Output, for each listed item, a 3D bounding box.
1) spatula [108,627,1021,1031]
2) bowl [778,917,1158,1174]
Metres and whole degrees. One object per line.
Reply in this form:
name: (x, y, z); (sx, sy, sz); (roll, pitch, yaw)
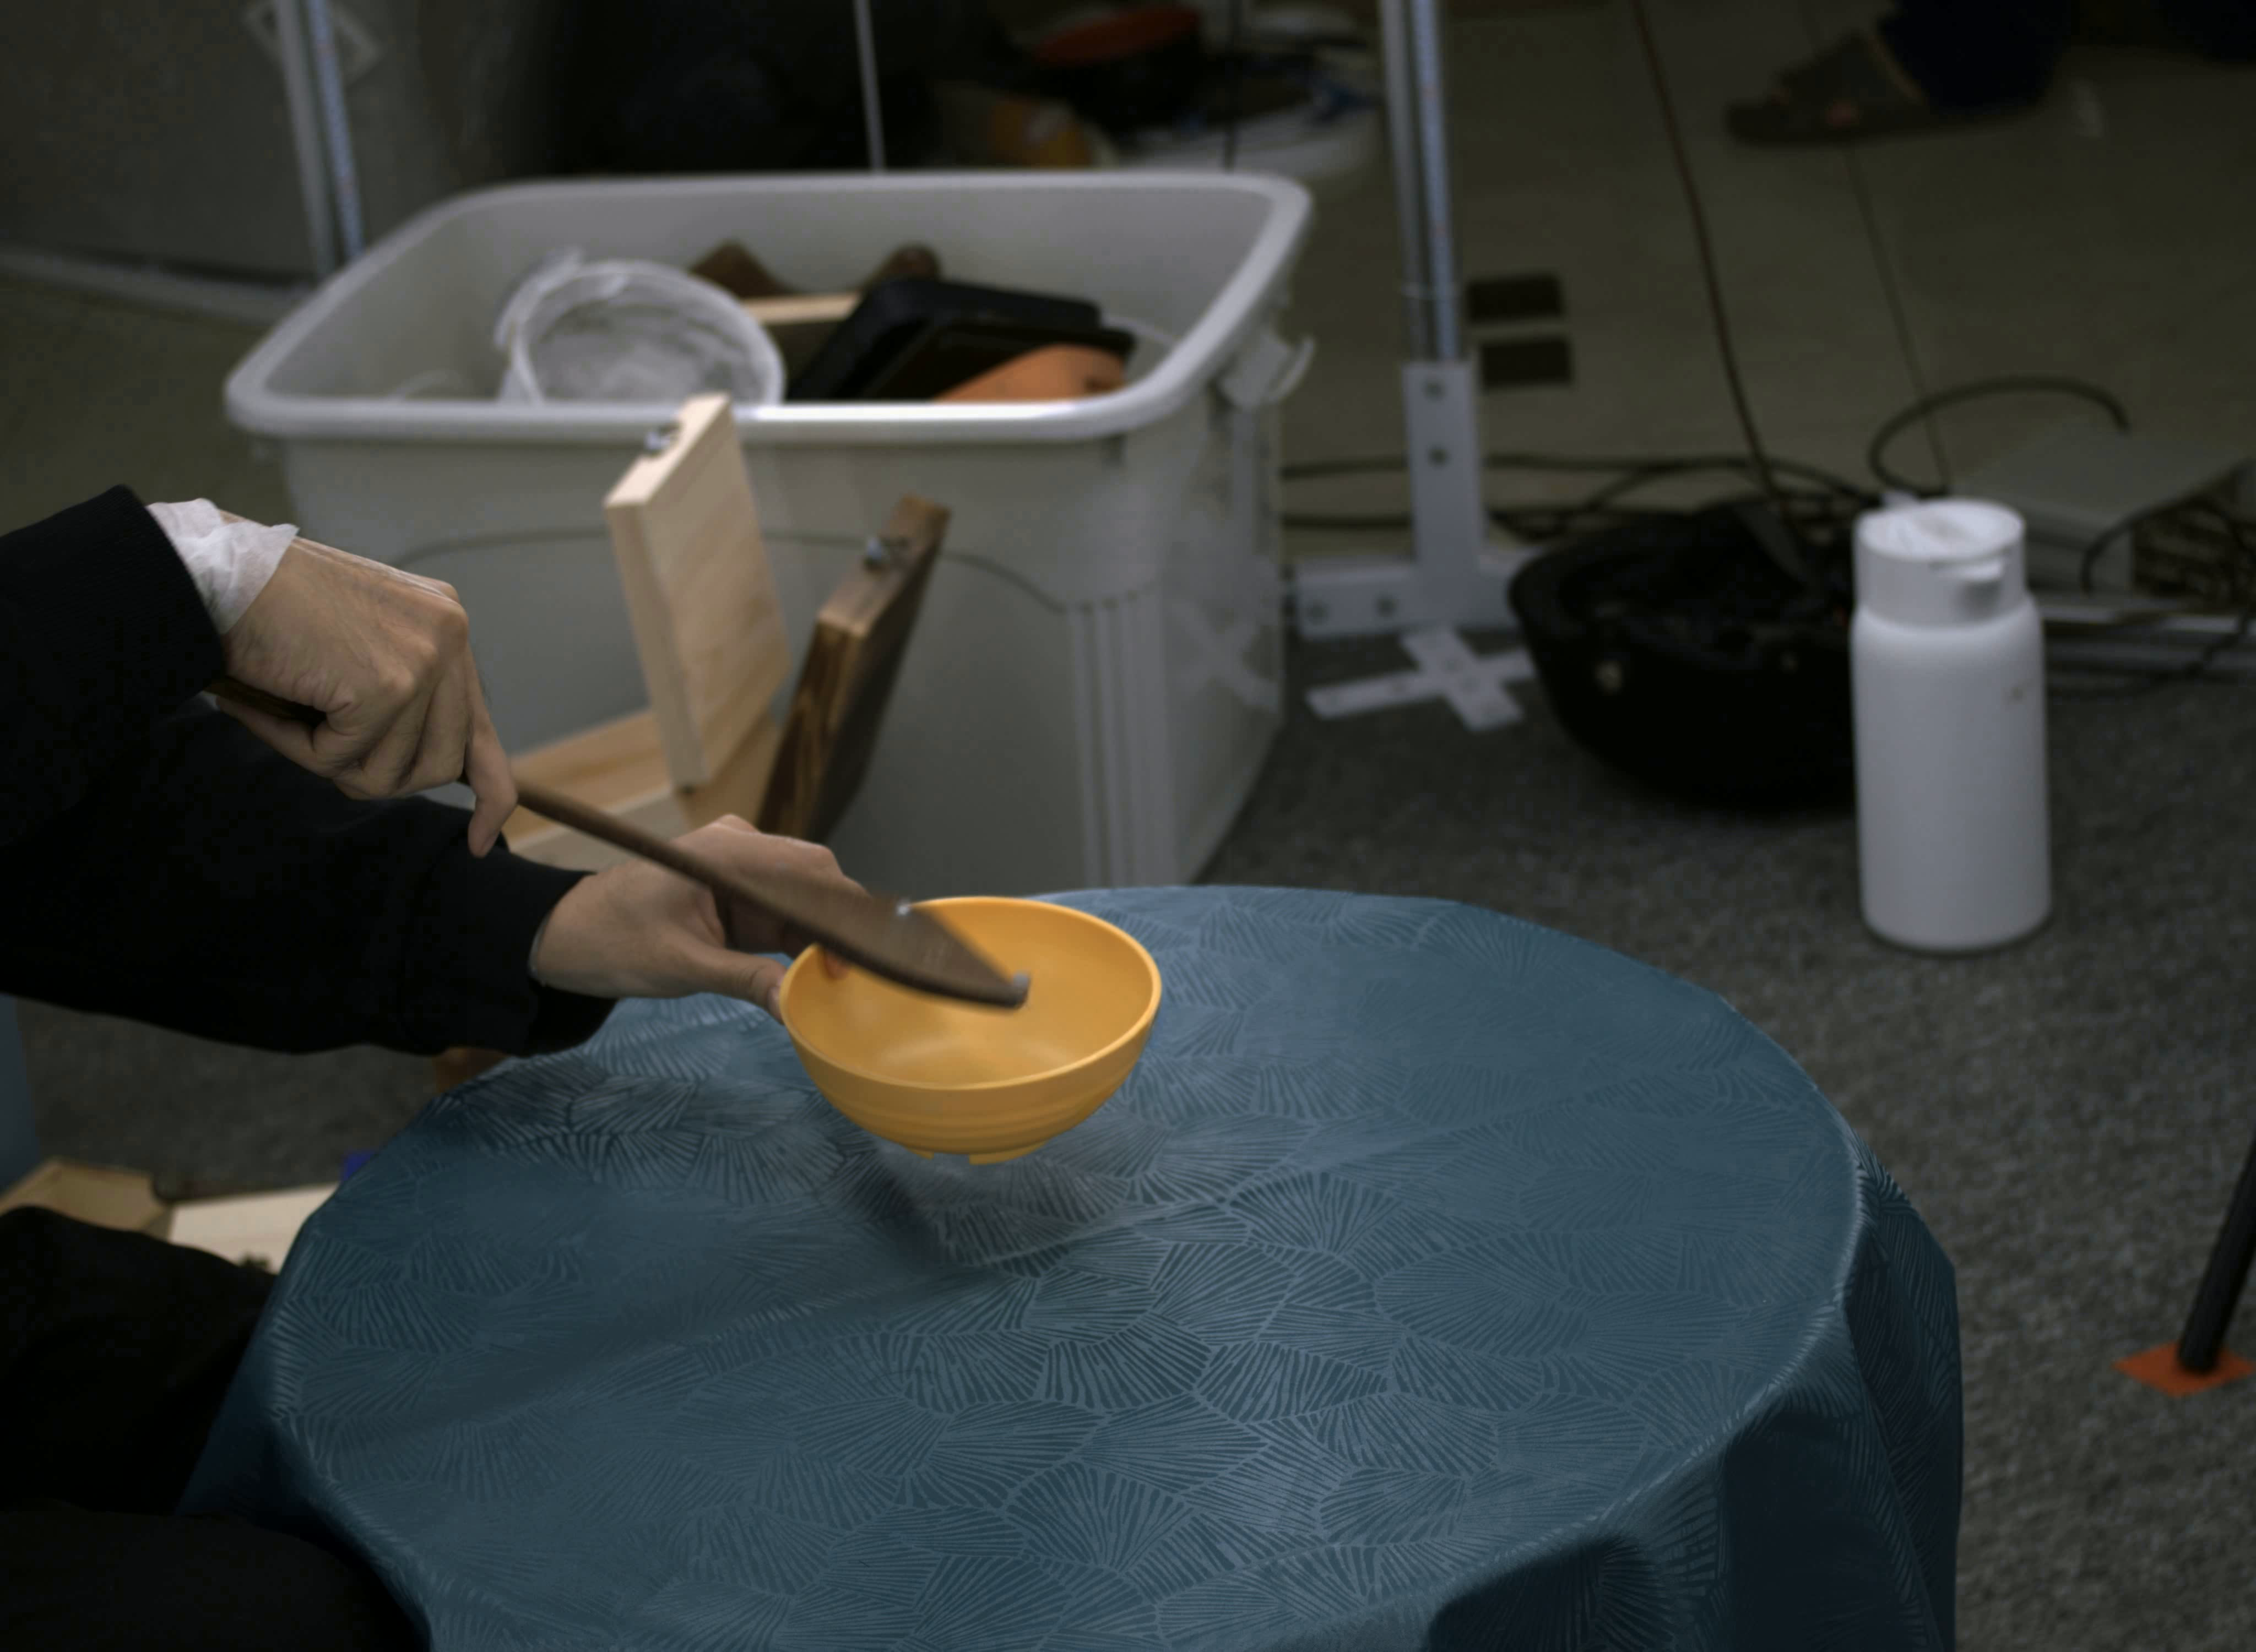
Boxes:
spatula: (-0.197, 0.000, 2.017); (0.389, 0.016, 0.095); (25, 9, -35)
bowl: (-0.060, 0.091, 2.151); (0.145, 0.061, 0.143); (-2, 26, 1)
